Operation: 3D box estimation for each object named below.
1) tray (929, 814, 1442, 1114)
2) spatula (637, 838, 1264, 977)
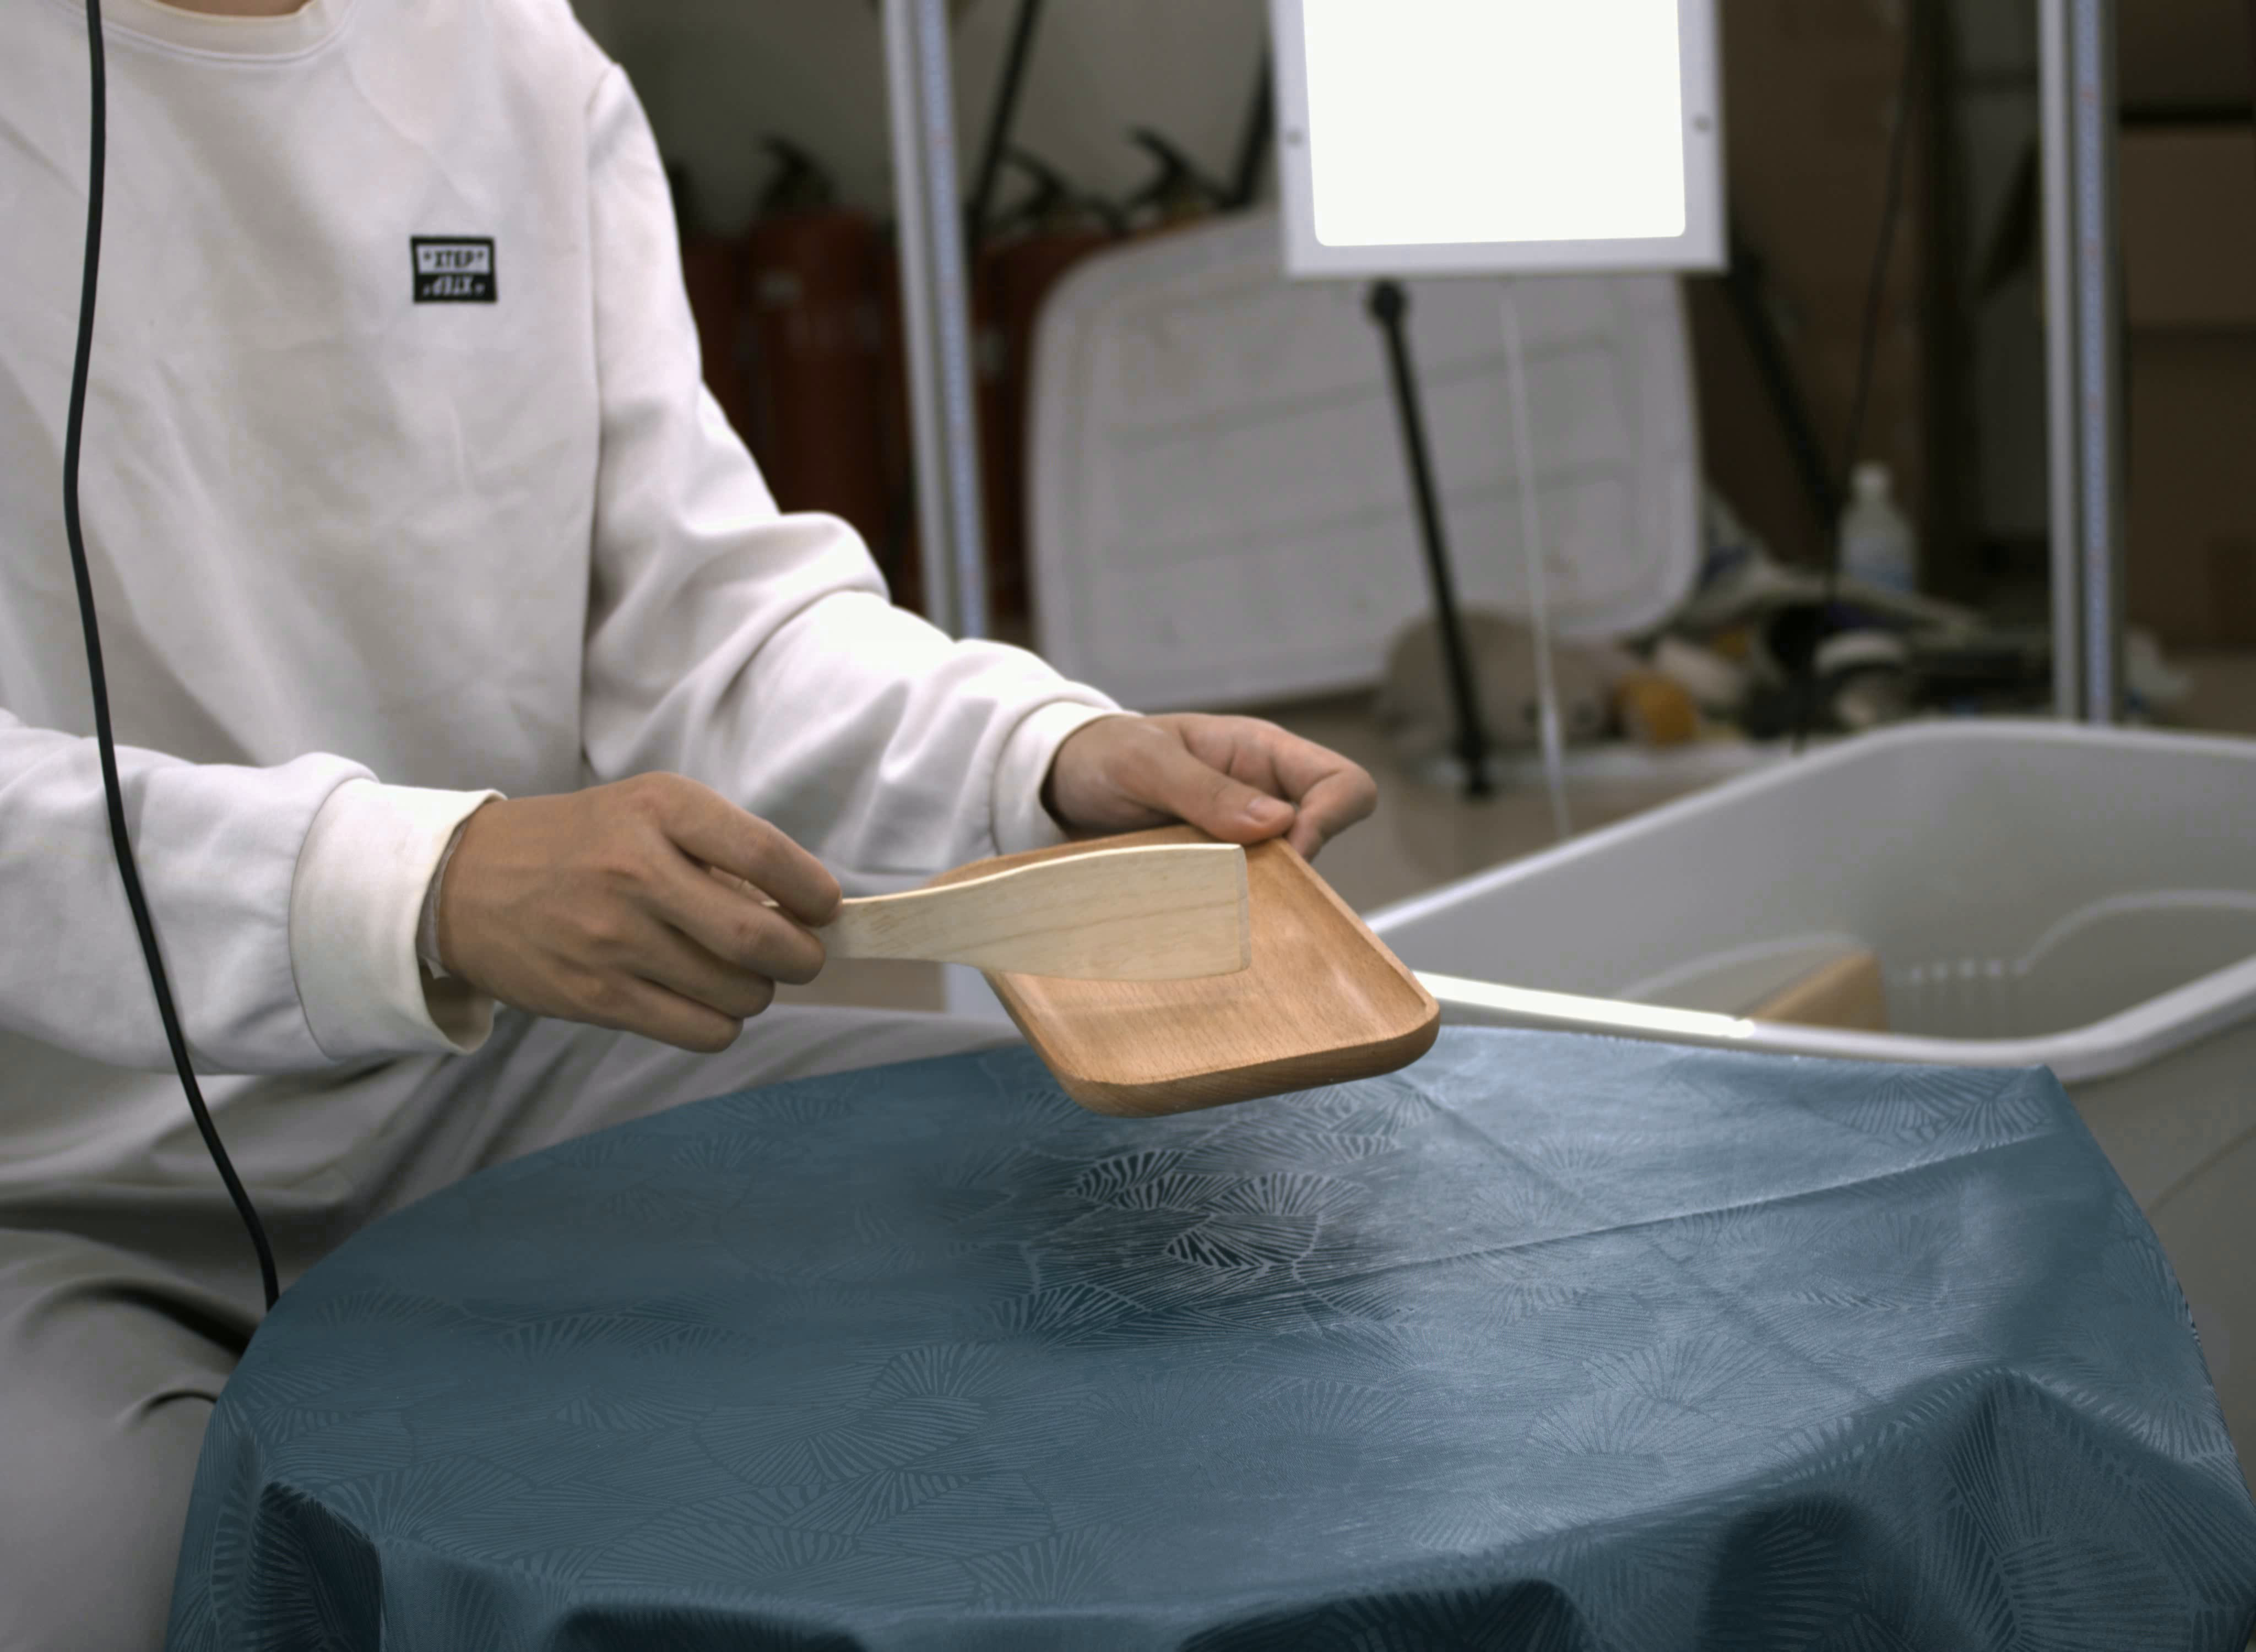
[{"bbox_3d":[0.016,0.044,1.859,0.129,0.023,0.252,-7,17,-11],"label":"tray"},{"bbox_3d":[-0.059,0.032,1.816,0.208,0.050,0.005,-4,25,6],"label":"spatula"}]
